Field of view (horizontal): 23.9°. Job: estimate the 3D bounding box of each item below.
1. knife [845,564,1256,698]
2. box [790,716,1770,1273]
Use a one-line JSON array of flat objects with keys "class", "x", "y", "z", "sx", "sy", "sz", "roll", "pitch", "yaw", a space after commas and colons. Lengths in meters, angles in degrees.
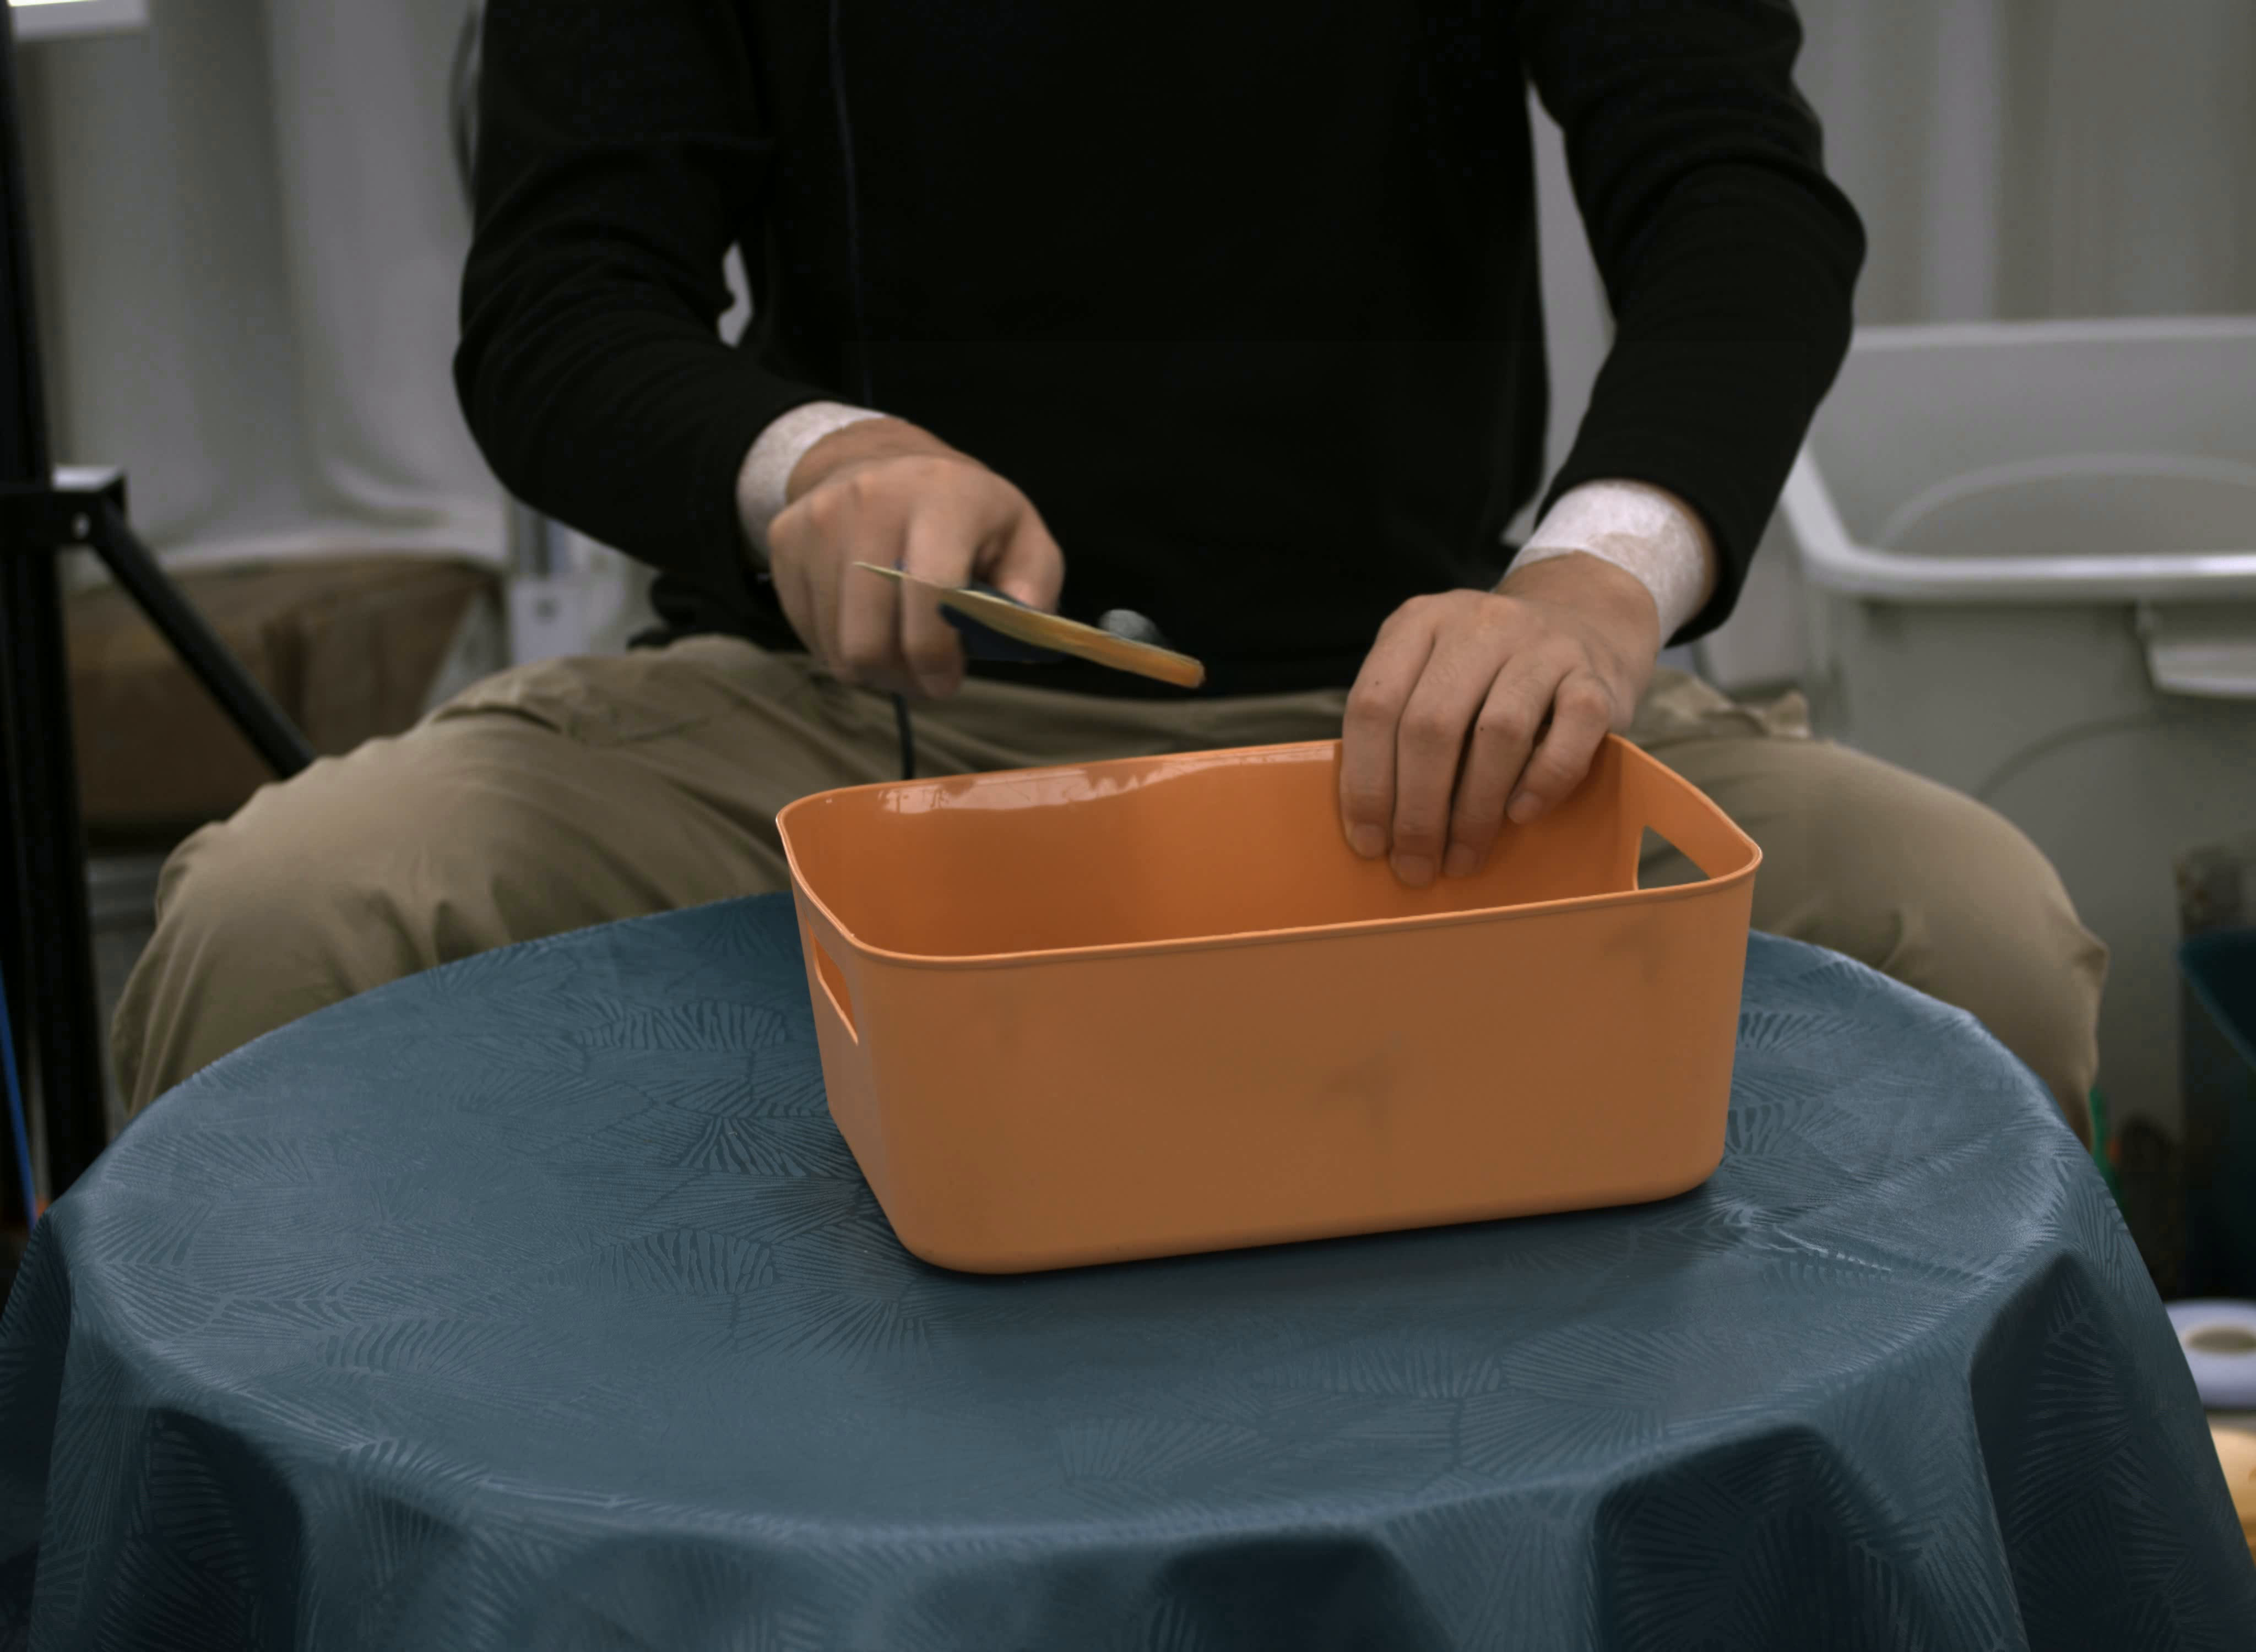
[{"class": "knife", "x": -0.037, "y": -0.062, "z": 1.652, "sx": 0.079, "sy": 0.027, "sz": 0.294, "roll": 26, "pitch": -6, "yaw": -23}, {"class": "box", "x": 0.042, "y": 0.048, "z": 1.571, "sx": 0.270, "sy": 0.102, "sz": 0.202, "roll": -6, "pitch": 17, "yaw": -10}]
